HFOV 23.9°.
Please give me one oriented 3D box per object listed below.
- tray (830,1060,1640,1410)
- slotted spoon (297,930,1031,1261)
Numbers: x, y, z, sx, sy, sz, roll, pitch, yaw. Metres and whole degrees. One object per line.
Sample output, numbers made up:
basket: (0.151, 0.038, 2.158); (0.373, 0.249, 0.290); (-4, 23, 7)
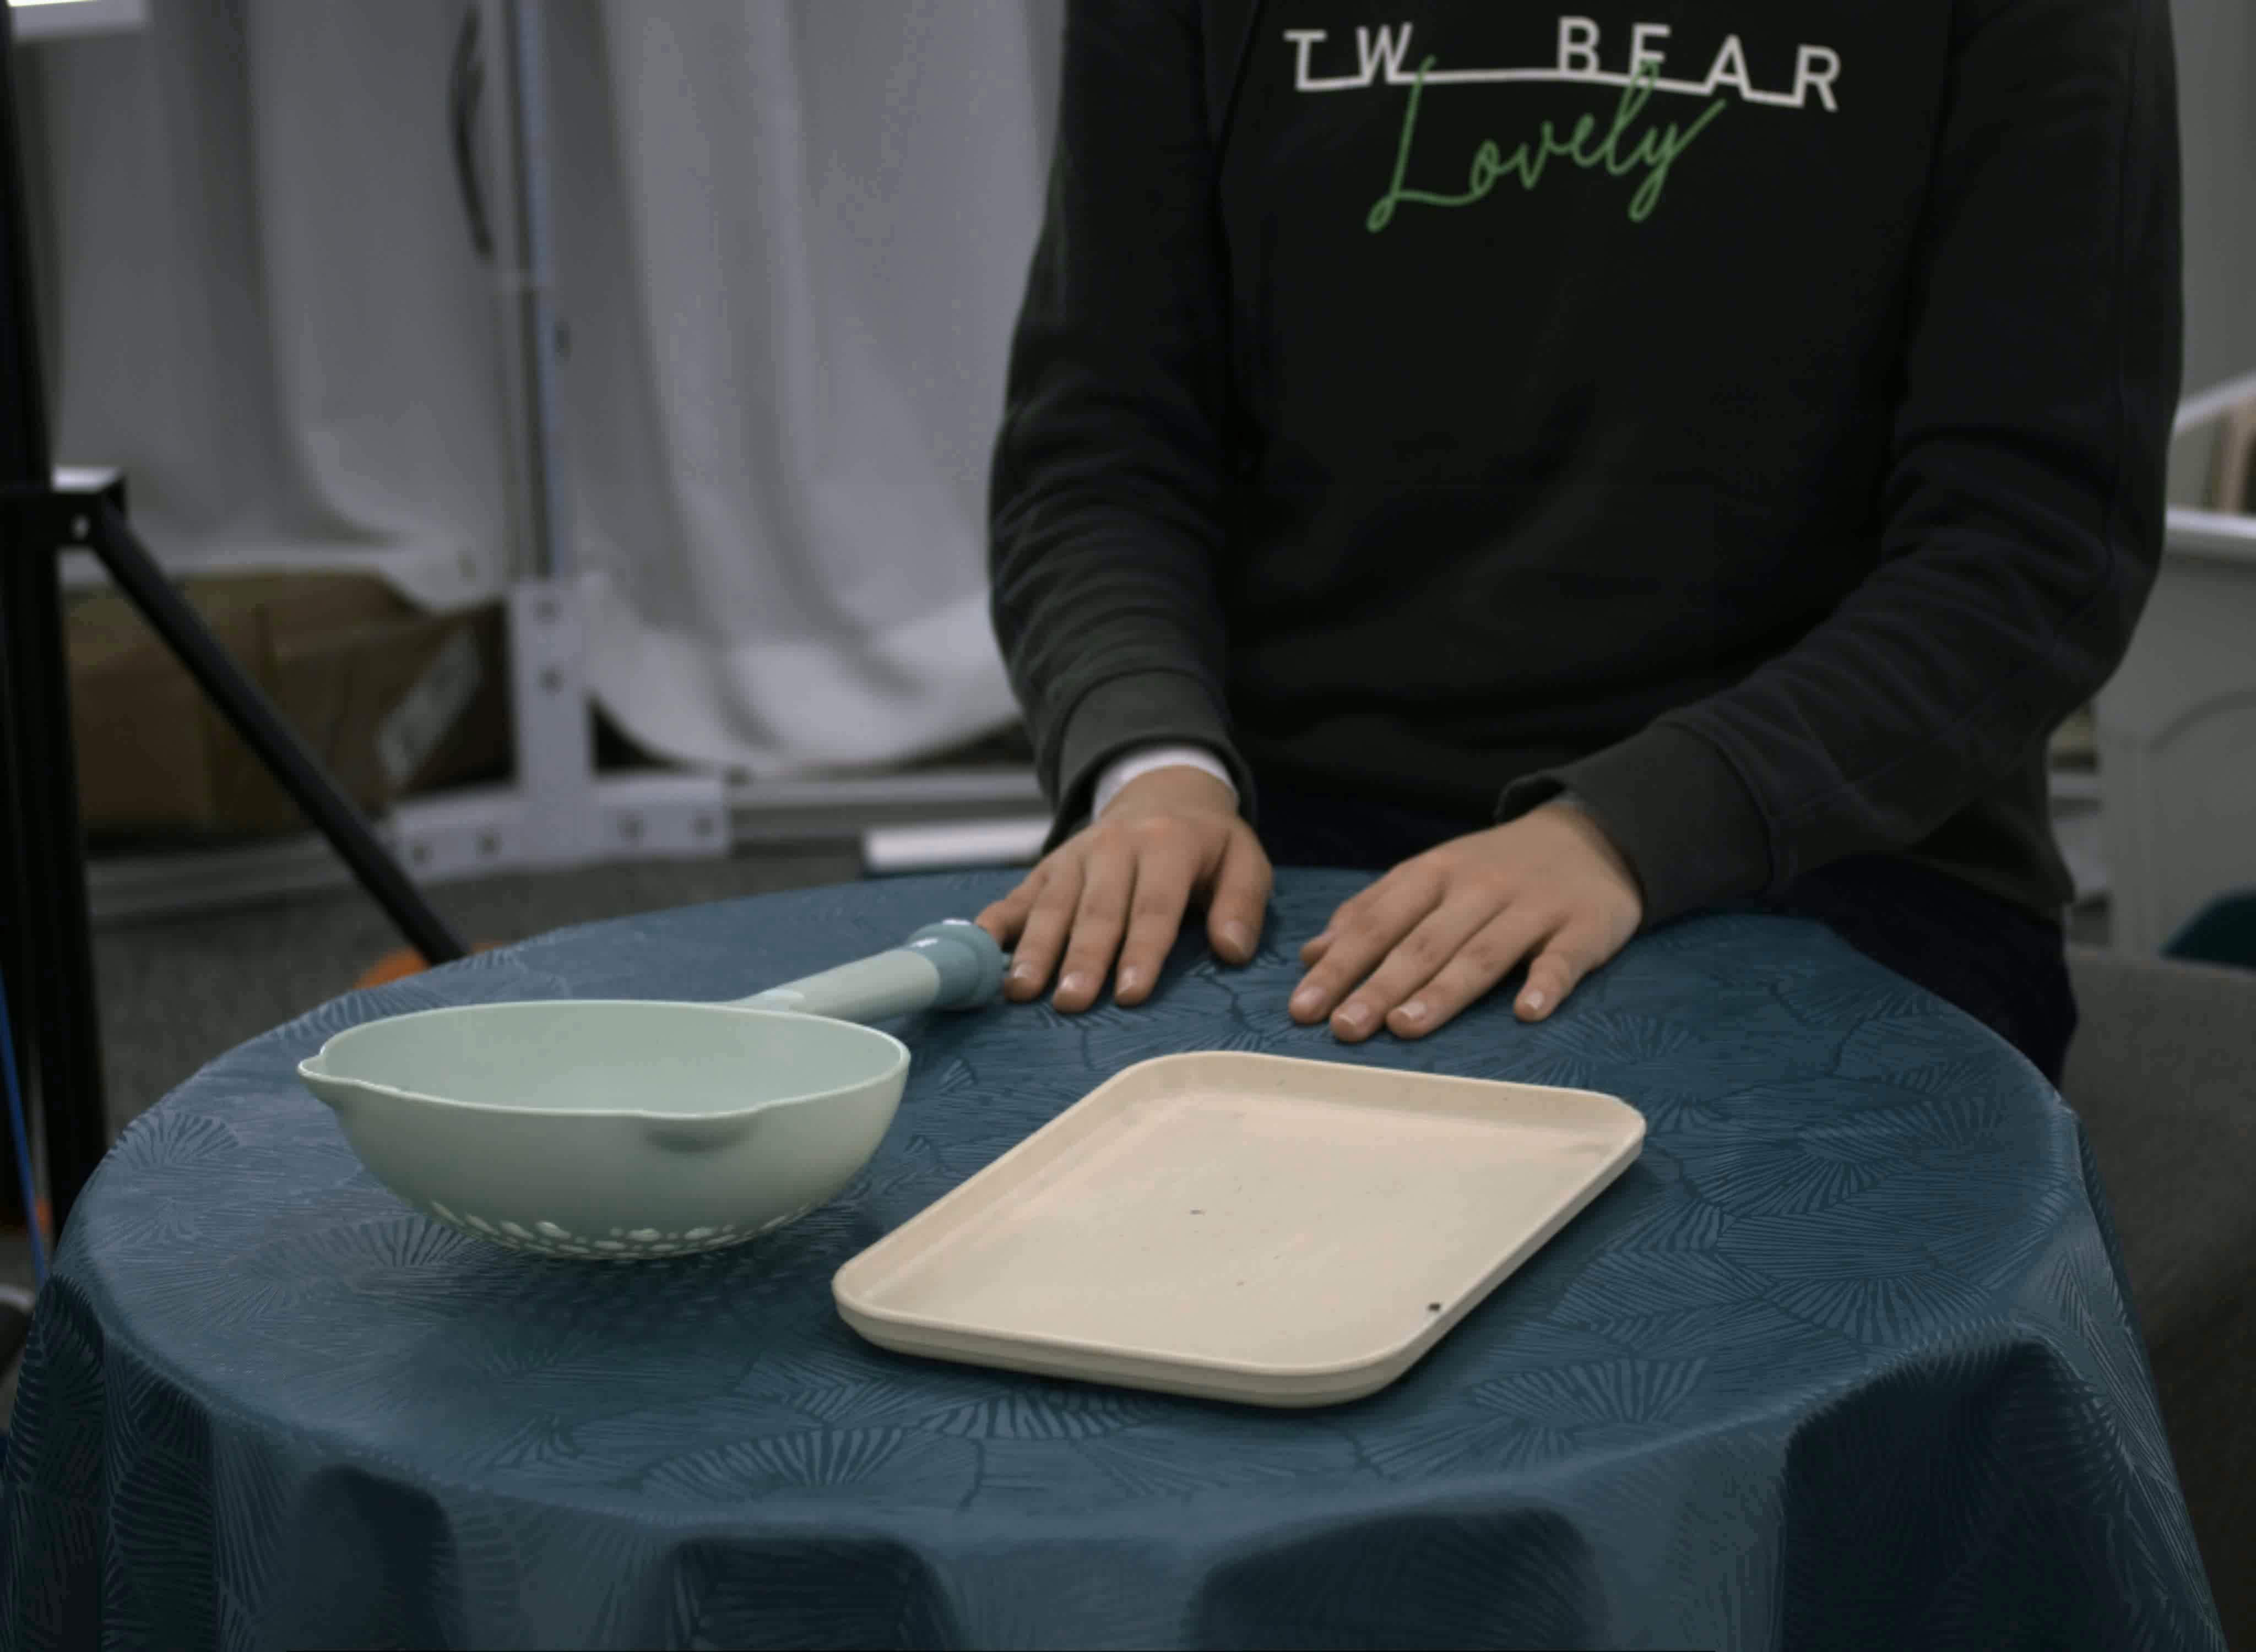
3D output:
tray: (0.035, 0.114, 1.501); (0.174, 0.017, 0.236); (5, 17, 26)
slotted spoon: (-0.109, 0.066, 1.611); (0.172, 0.075, 0.354); (5, 17, 23)
